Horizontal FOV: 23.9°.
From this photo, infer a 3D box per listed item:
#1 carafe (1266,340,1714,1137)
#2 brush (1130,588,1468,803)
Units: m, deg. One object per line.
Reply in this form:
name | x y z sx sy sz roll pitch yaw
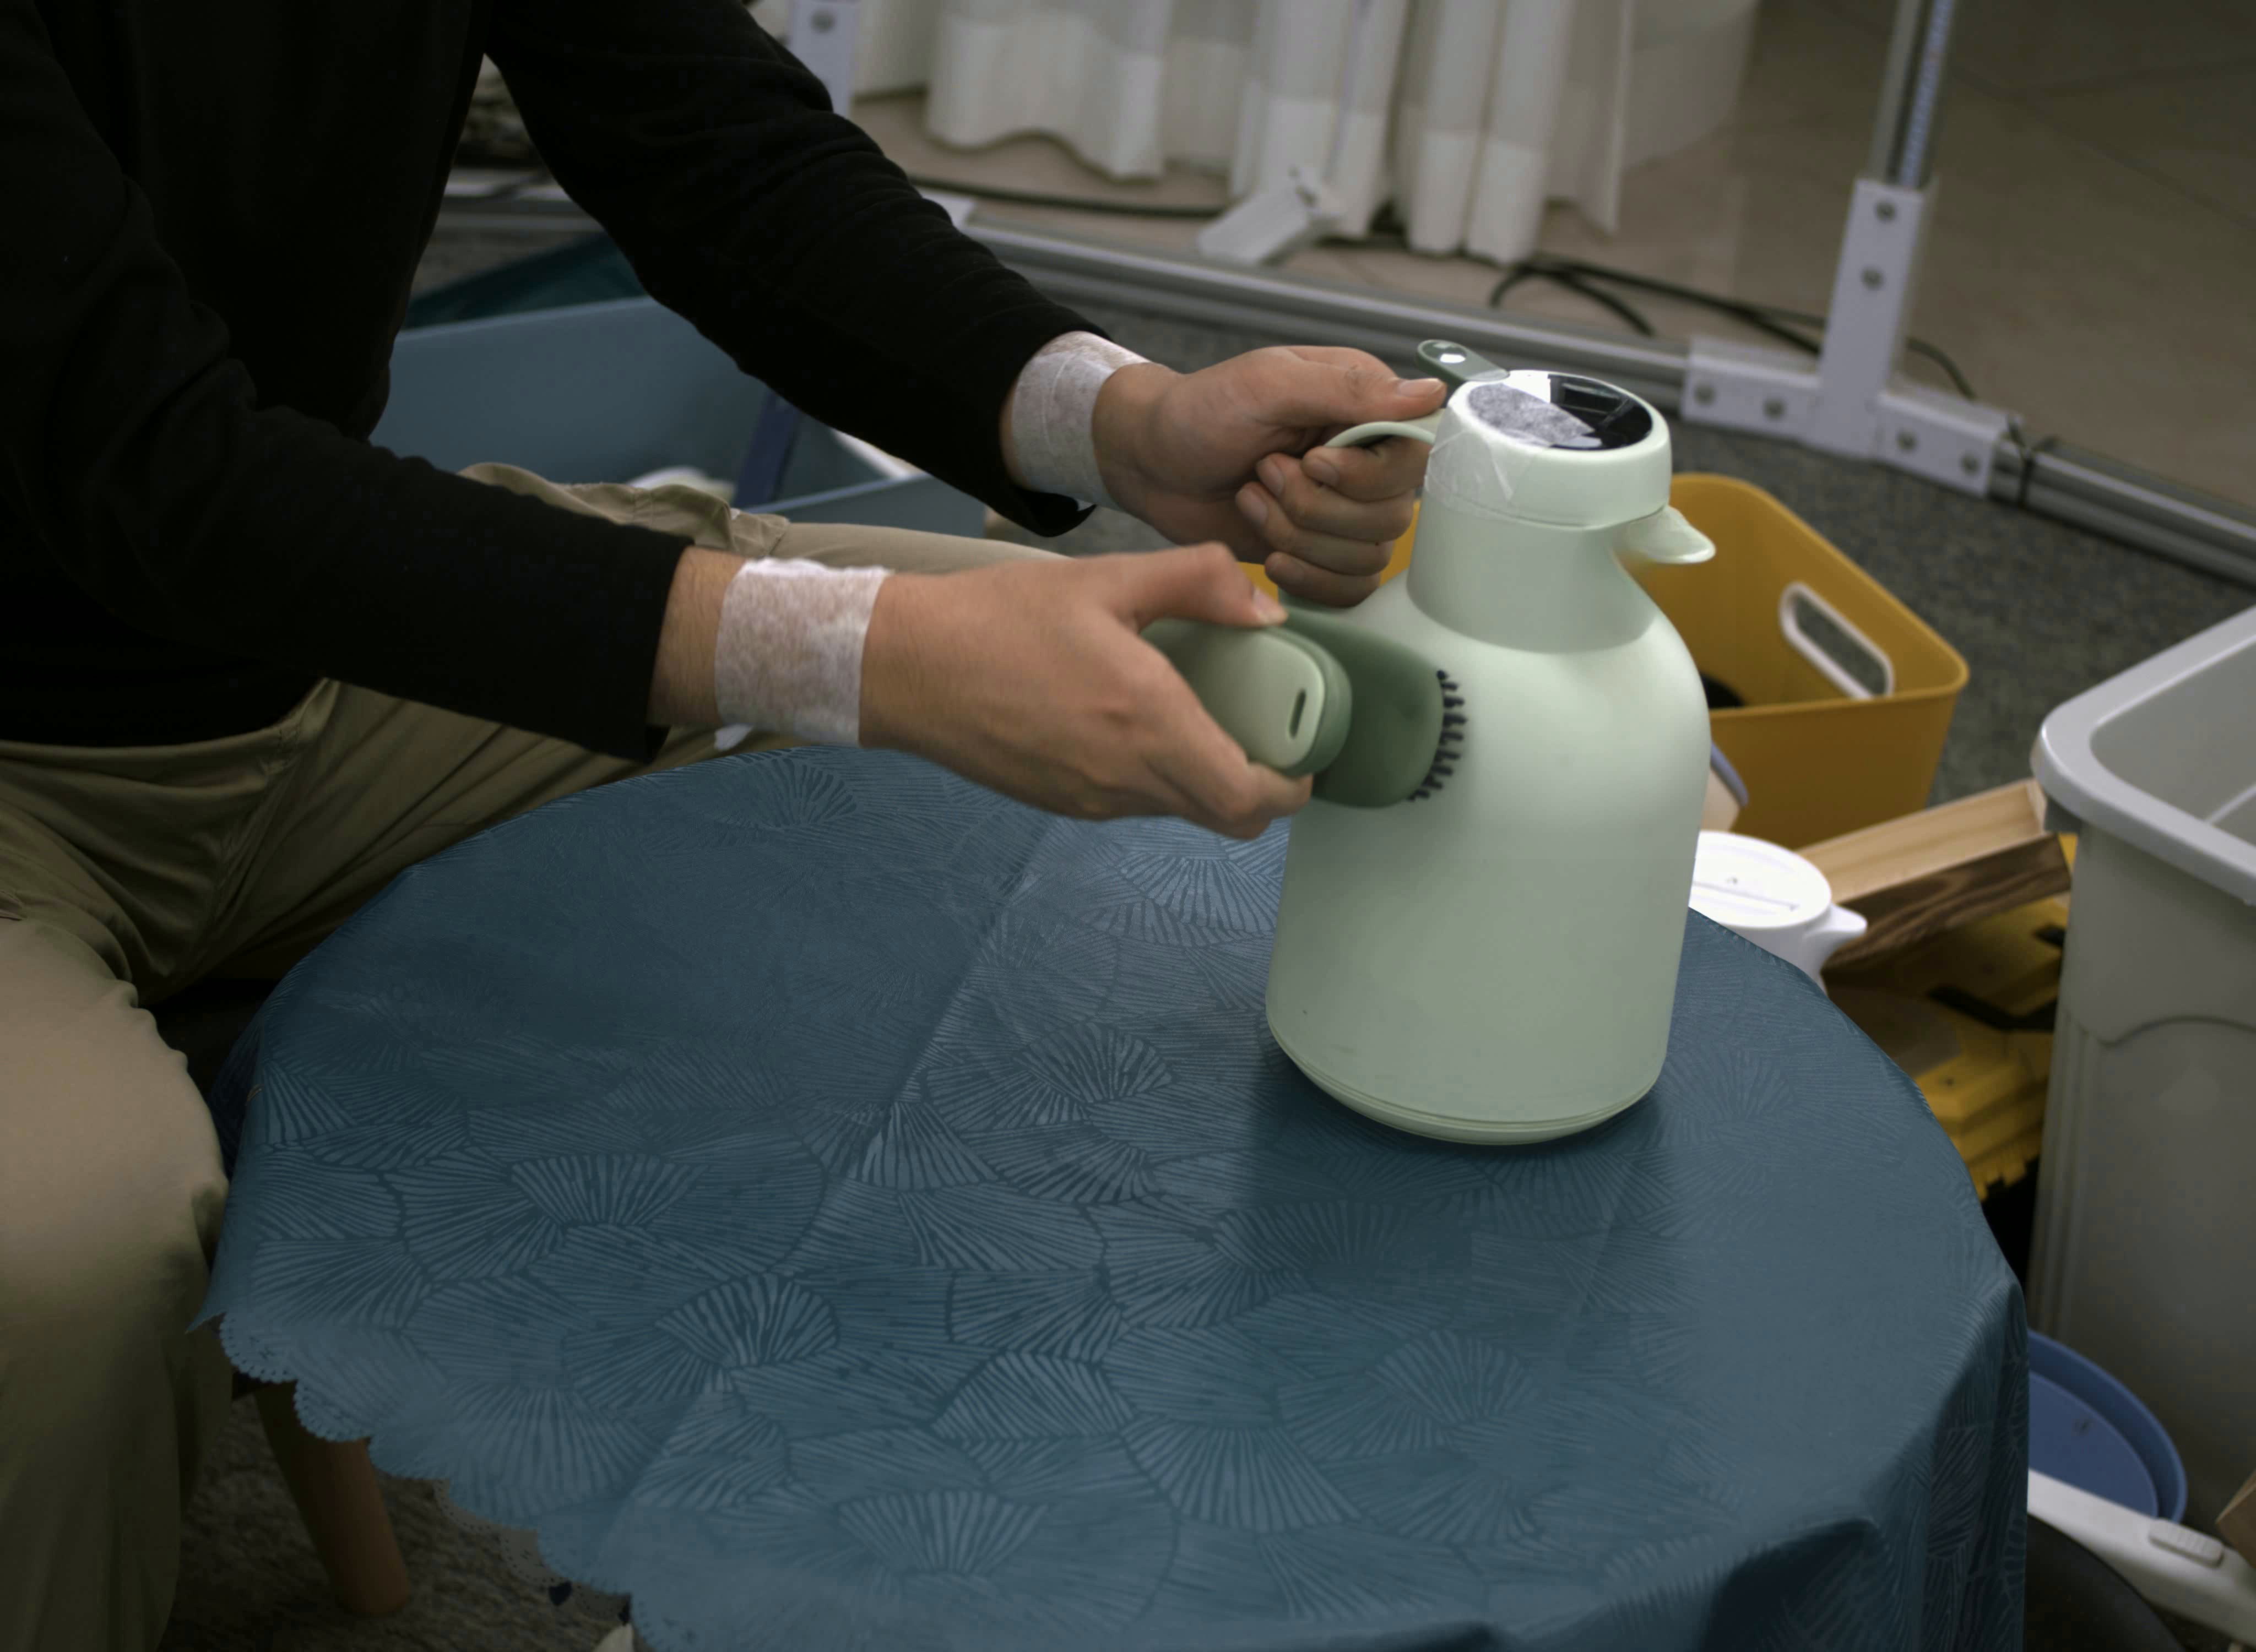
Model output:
carafe | 0.122 -0.036 1.859 0.143 0.256 0.188 -16 32 -37
brush | 0.056 -0.044 1.779 0.075 0.059 0.124 9 8 -36
